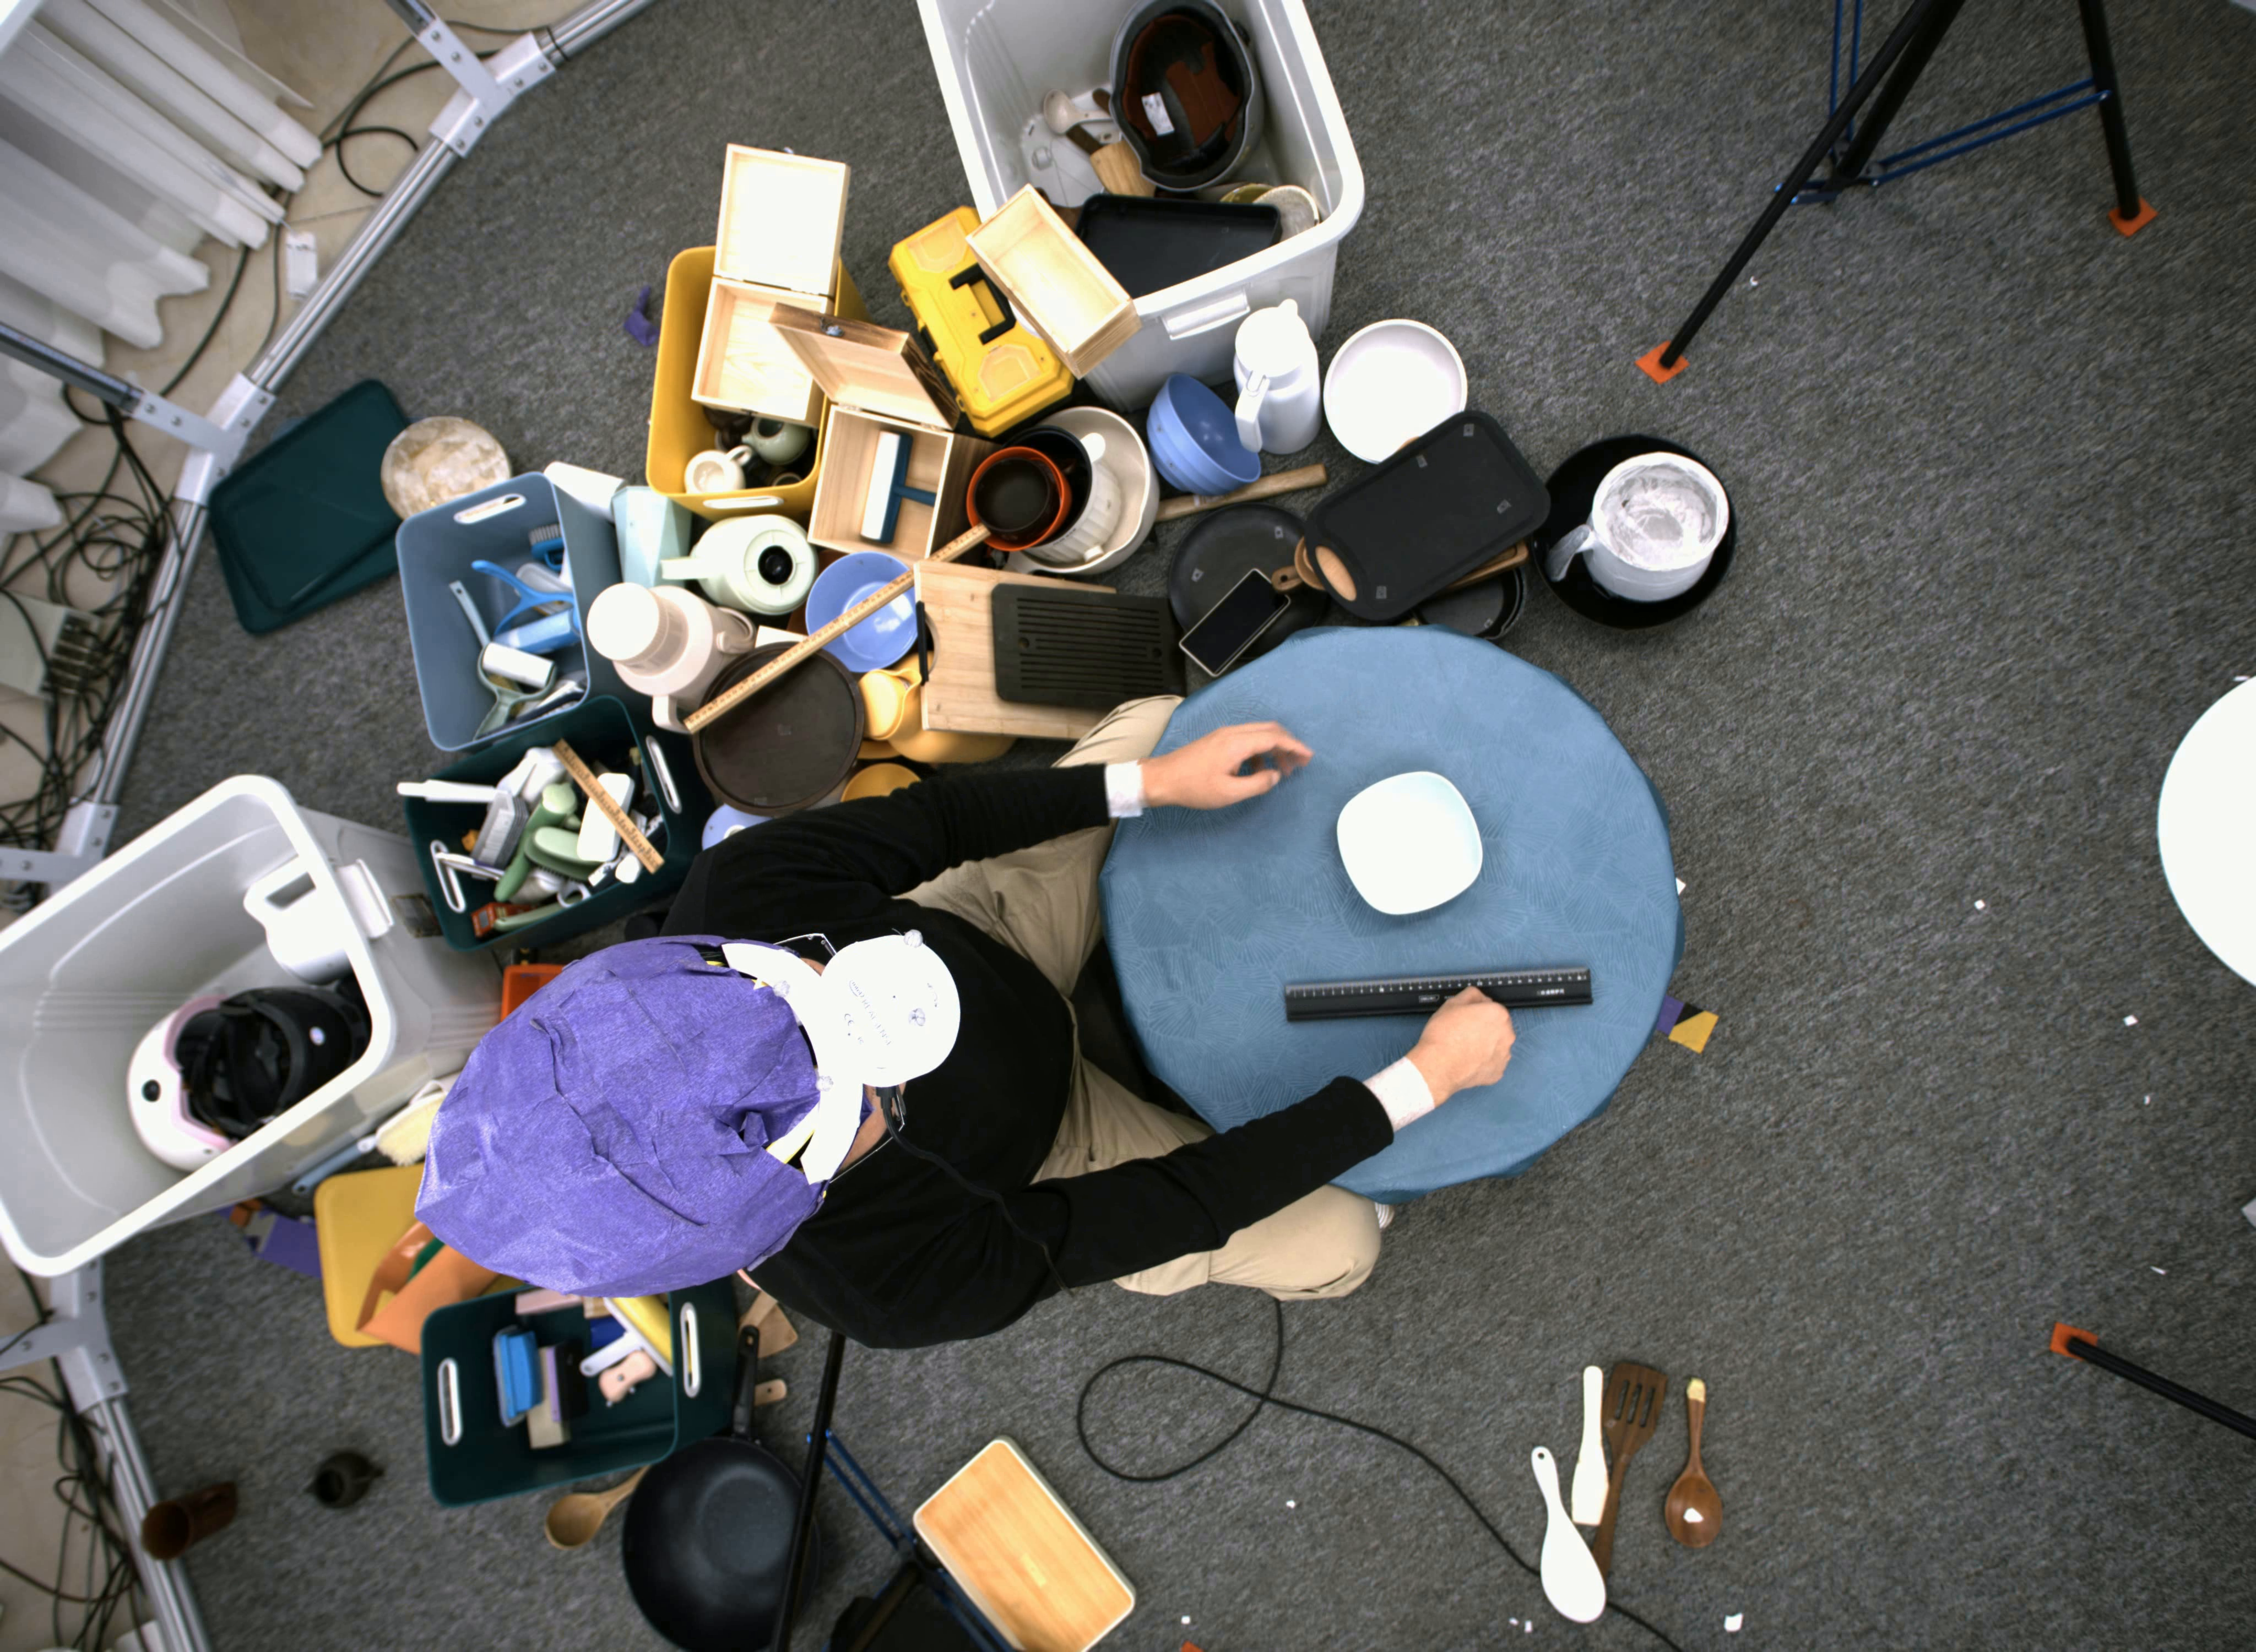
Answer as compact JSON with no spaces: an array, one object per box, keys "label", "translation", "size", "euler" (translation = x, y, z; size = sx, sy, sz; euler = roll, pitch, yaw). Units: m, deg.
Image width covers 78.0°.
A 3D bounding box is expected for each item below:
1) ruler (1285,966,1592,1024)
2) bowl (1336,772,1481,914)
[{"label":"ruler","translation":[0.319,0.173,1.427],"size":[0.314,0.017,0.039],"euler":[-6,92,11]},{"label":"bowl","translation":[0.289,0.018,1.431],"size":[0.152,0.059,0.151],"euler":[-1,86,8]}]
